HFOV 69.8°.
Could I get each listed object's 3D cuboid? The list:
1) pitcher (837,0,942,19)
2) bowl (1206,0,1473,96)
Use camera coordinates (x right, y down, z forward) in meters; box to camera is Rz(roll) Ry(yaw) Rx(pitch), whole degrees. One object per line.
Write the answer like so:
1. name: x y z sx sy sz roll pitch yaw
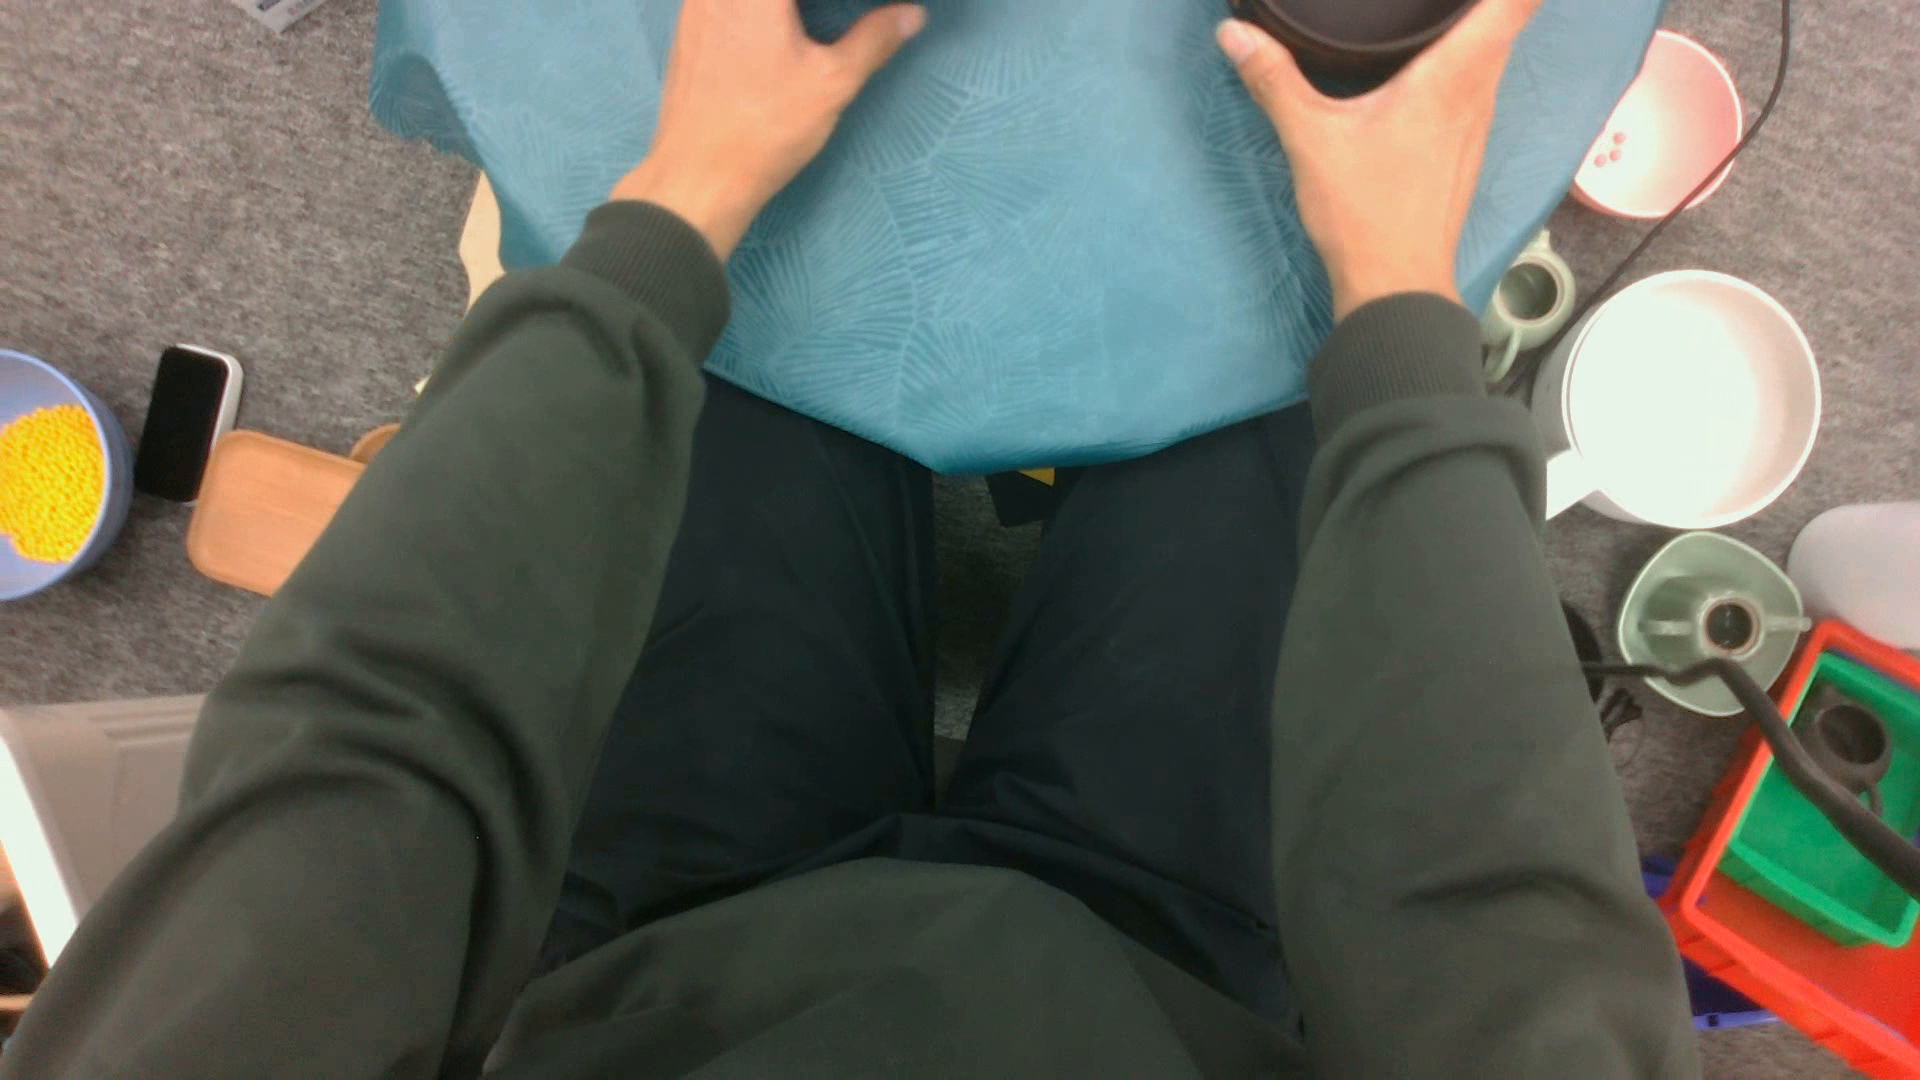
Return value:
1. pitcher: -0.027 -0.271 0.609 0.096 0.071 0.084 15 87 0
2. bowl: 0.164 -0.253 0.605 0.118 0.070 0.118 0 91 1
